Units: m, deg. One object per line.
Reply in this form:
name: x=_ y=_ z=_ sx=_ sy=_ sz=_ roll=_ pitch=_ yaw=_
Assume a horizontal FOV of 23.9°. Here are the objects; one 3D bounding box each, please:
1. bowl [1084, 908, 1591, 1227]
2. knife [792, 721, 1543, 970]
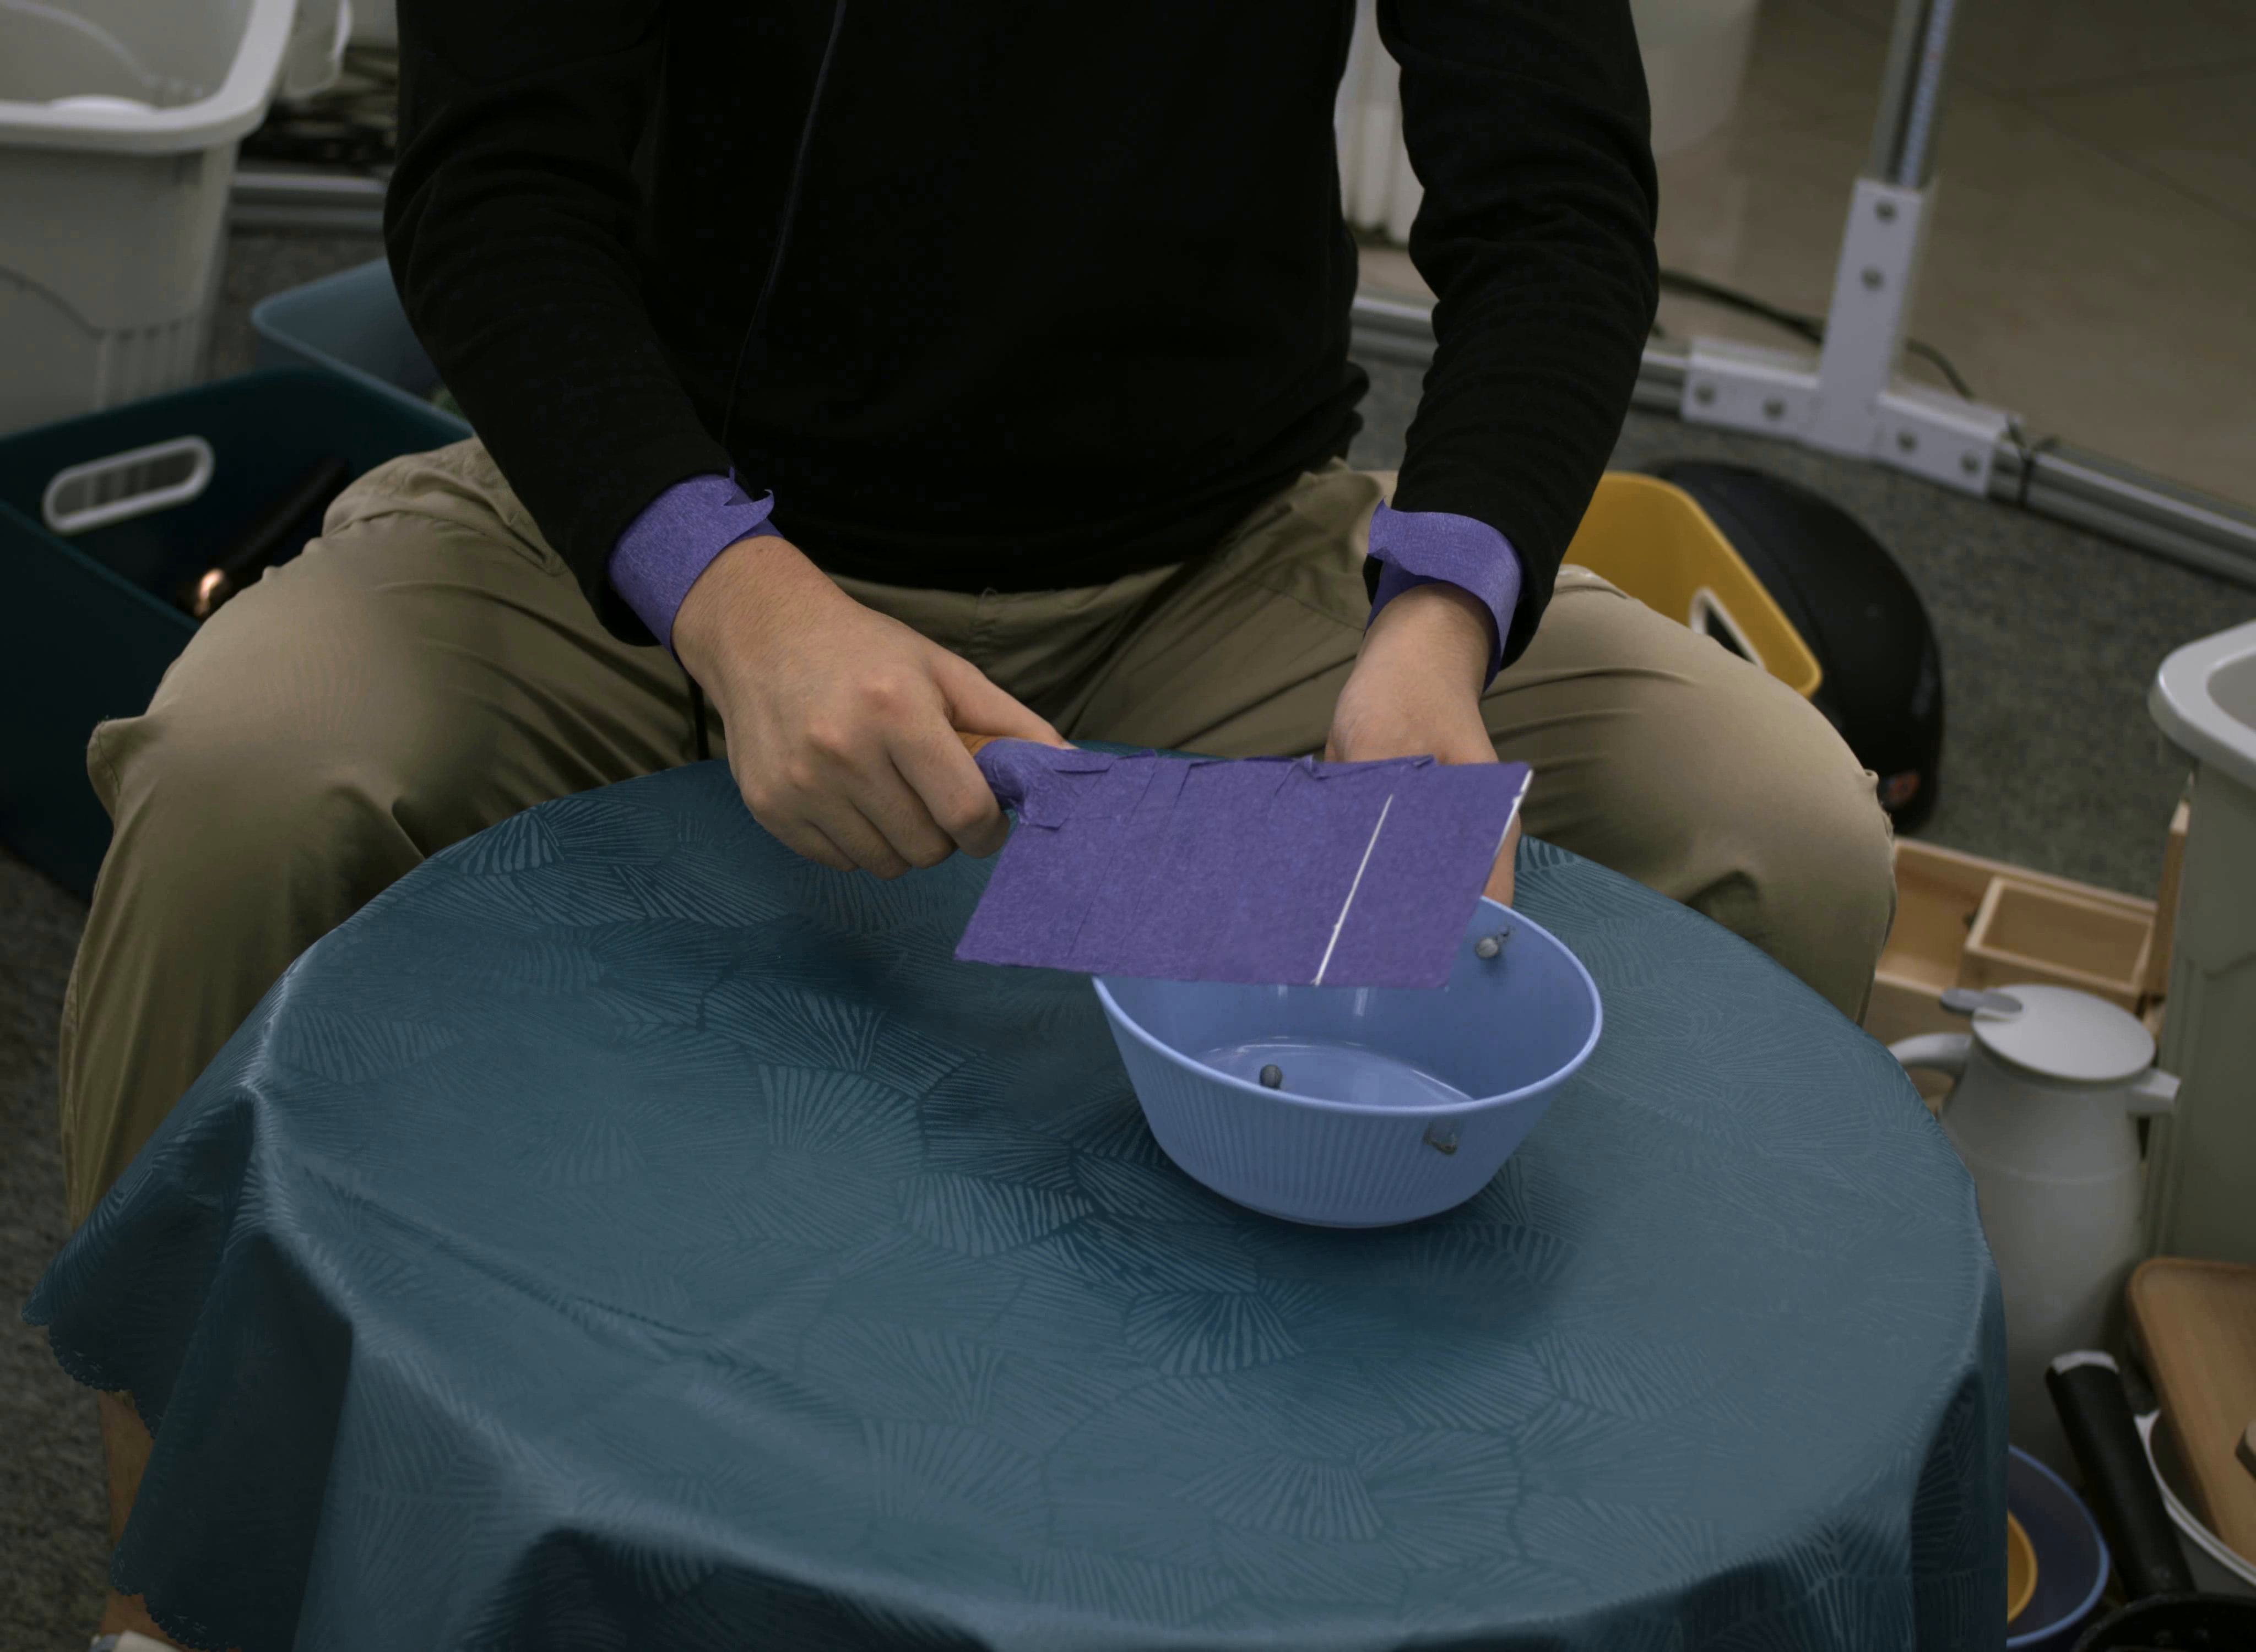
bowl: x=0.068 y=0.082 z=1.825 sx=0.175 sy=0.070 sz=0.177 roll=6 pitch=25 yaw=-3
knife: x=-0.004 y=0.006 z=1.825 sx=0.316 sy=0.032 sz=0.104 roll=-1 pitch=52 yaw=40
